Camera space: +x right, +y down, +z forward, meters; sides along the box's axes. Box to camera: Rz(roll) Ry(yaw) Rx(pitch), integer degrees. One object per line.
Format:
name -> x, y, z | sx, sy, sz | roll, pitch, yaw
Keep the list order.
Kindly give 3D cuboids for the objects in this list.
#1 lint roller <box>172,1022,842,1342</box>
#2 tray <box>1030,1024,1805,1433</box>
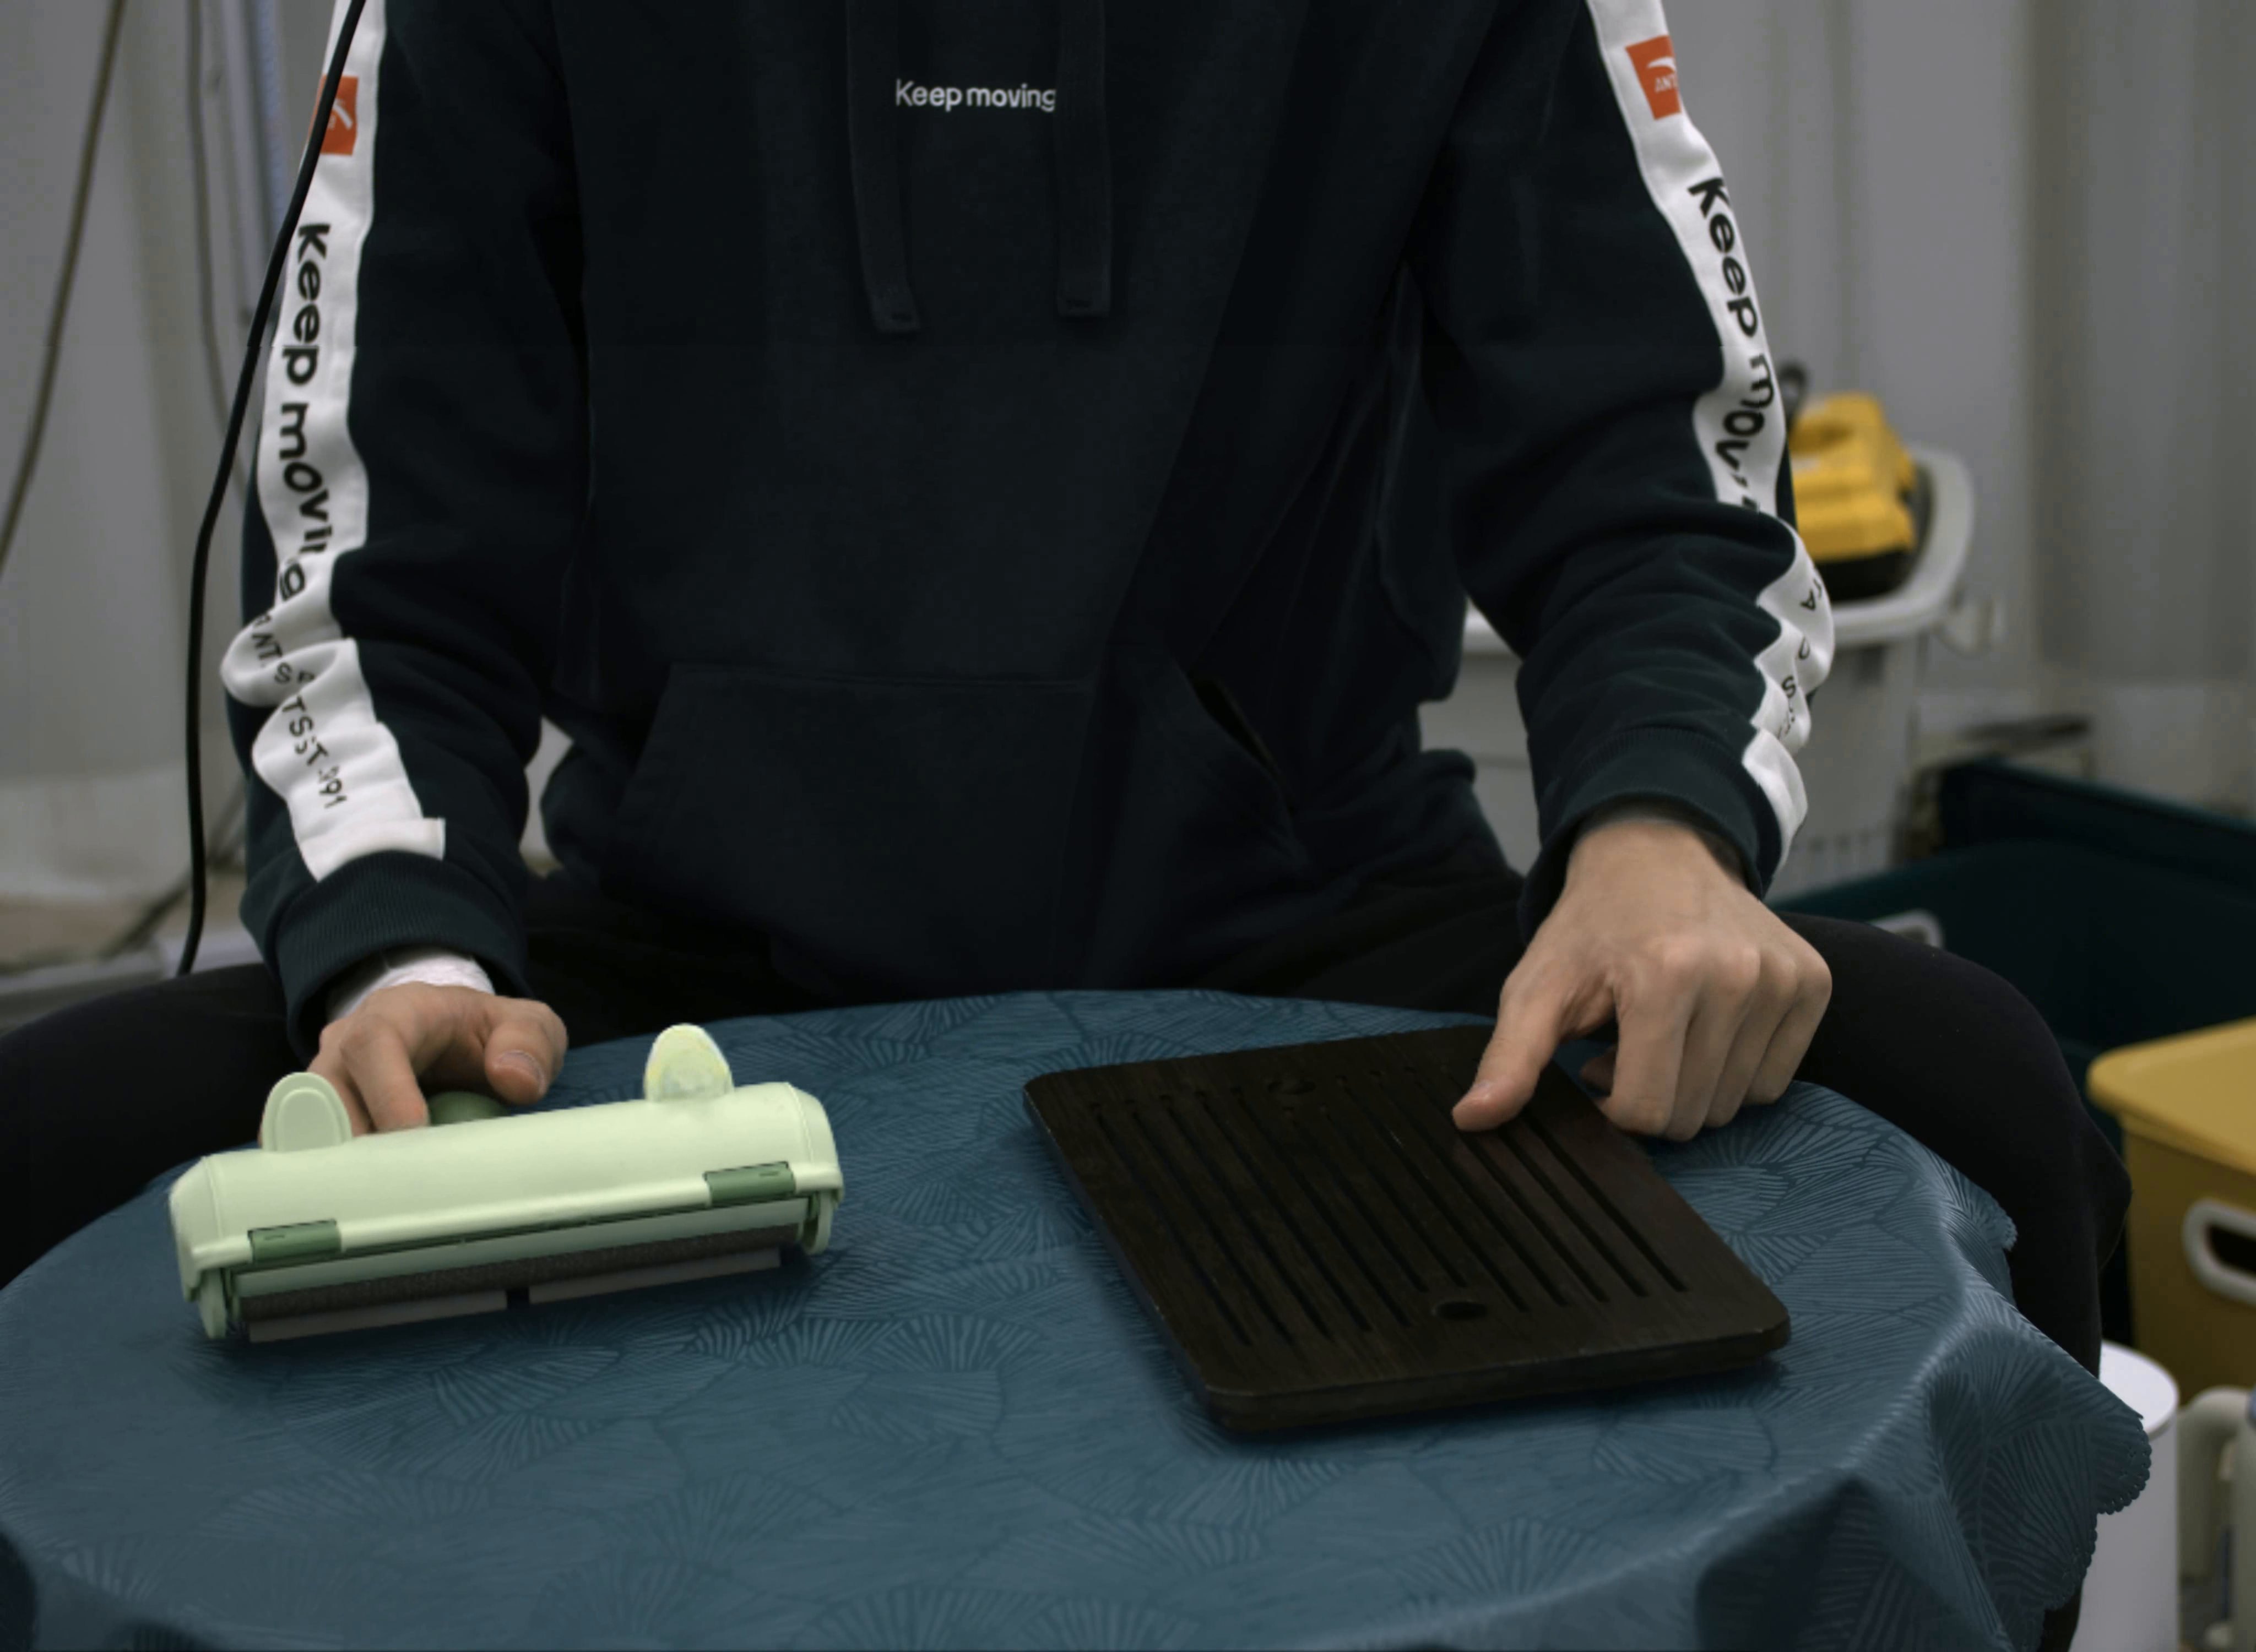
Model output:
lint roller -> -0.201, 0.092, 1.686 | 0.198, 0.082, 0.185 | -7, 18, -14
tray -> 0.079, 0.118, 1.651 | 0.169, 0.018, 0.308 | -6, 15, -10
